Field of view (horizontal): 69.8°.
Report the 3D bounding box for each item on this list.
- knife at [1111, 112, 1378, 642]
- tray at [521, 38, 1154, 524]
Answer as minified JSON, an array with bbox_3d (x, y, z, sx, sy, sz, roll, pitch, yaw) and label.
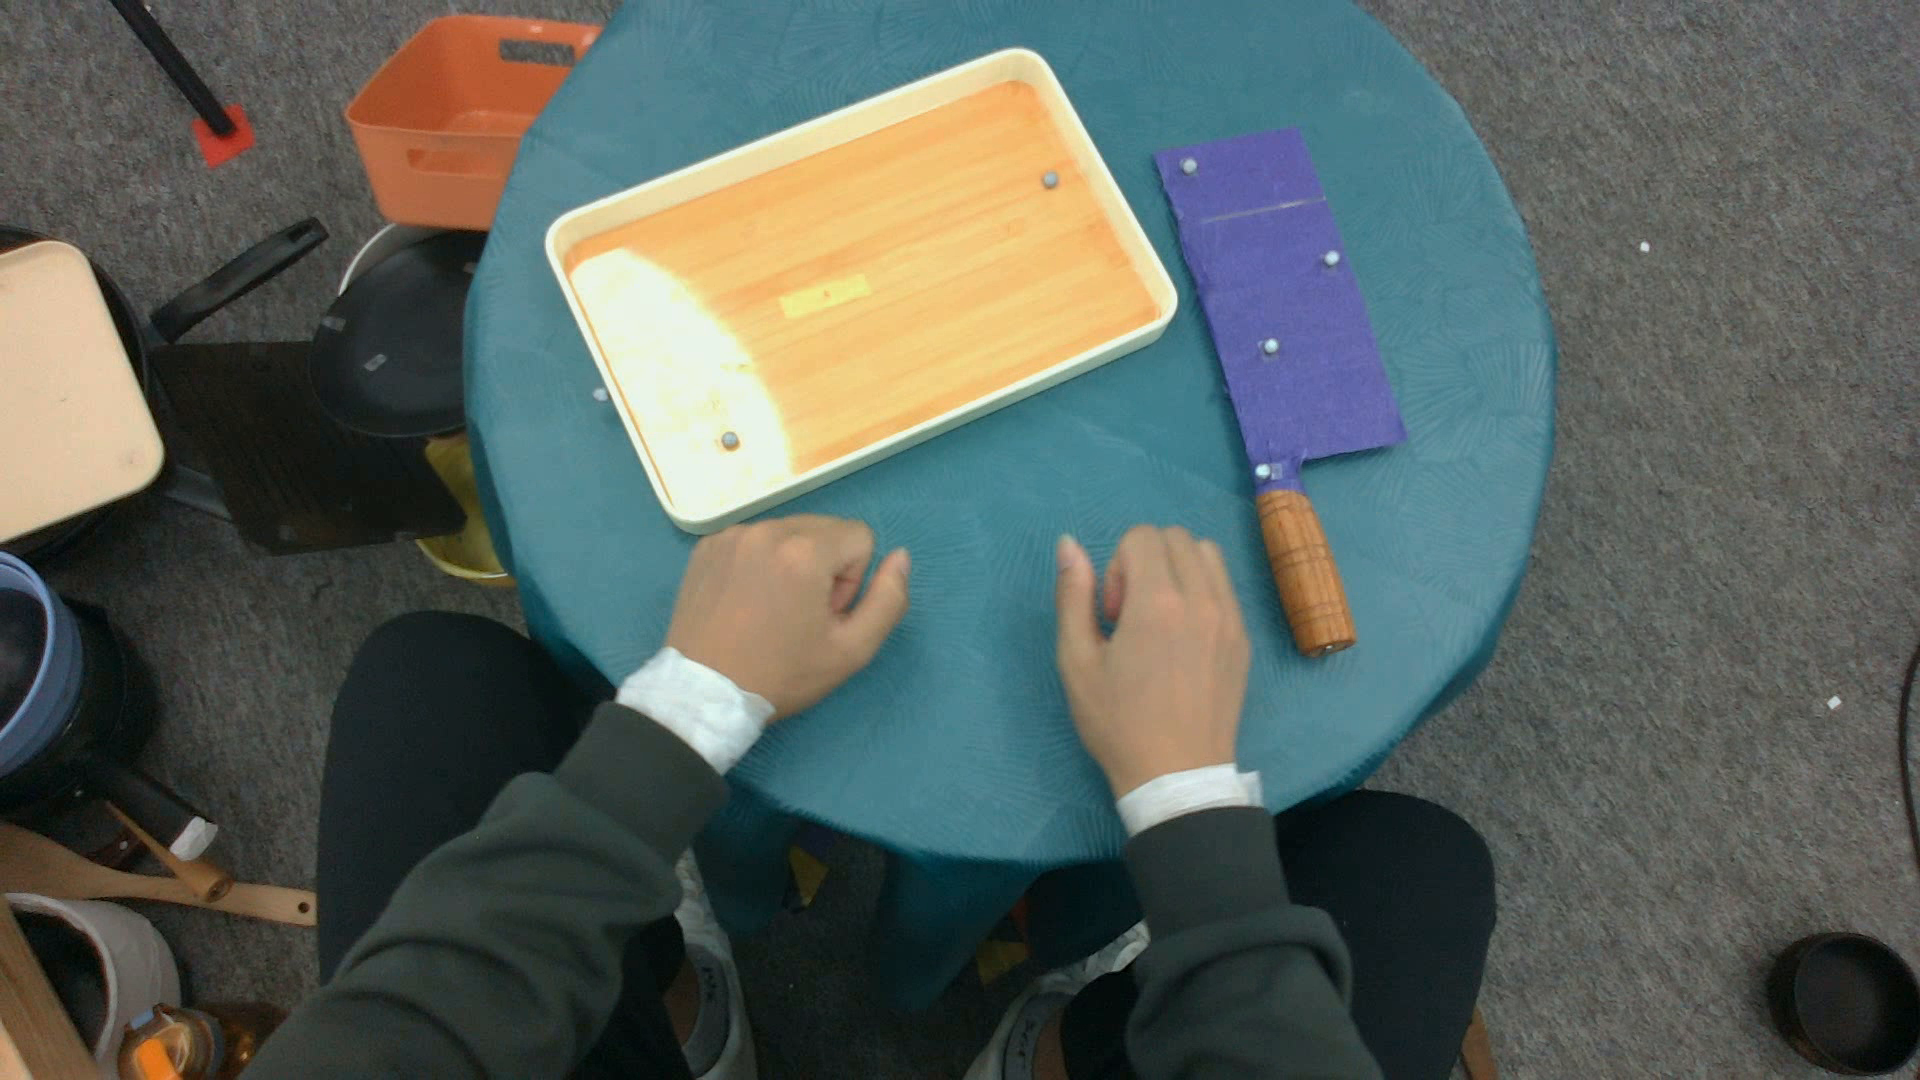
[{"bbox_3d":[0.174,-0.103,0.757,0.104,0.032,0.316,-12,73,-8],"label":"knife"},{"bbox_3d":[-0.064,-0.147,0.750,0.301,0.027,0.192,-24,76,-12],"label":"tray"}]
